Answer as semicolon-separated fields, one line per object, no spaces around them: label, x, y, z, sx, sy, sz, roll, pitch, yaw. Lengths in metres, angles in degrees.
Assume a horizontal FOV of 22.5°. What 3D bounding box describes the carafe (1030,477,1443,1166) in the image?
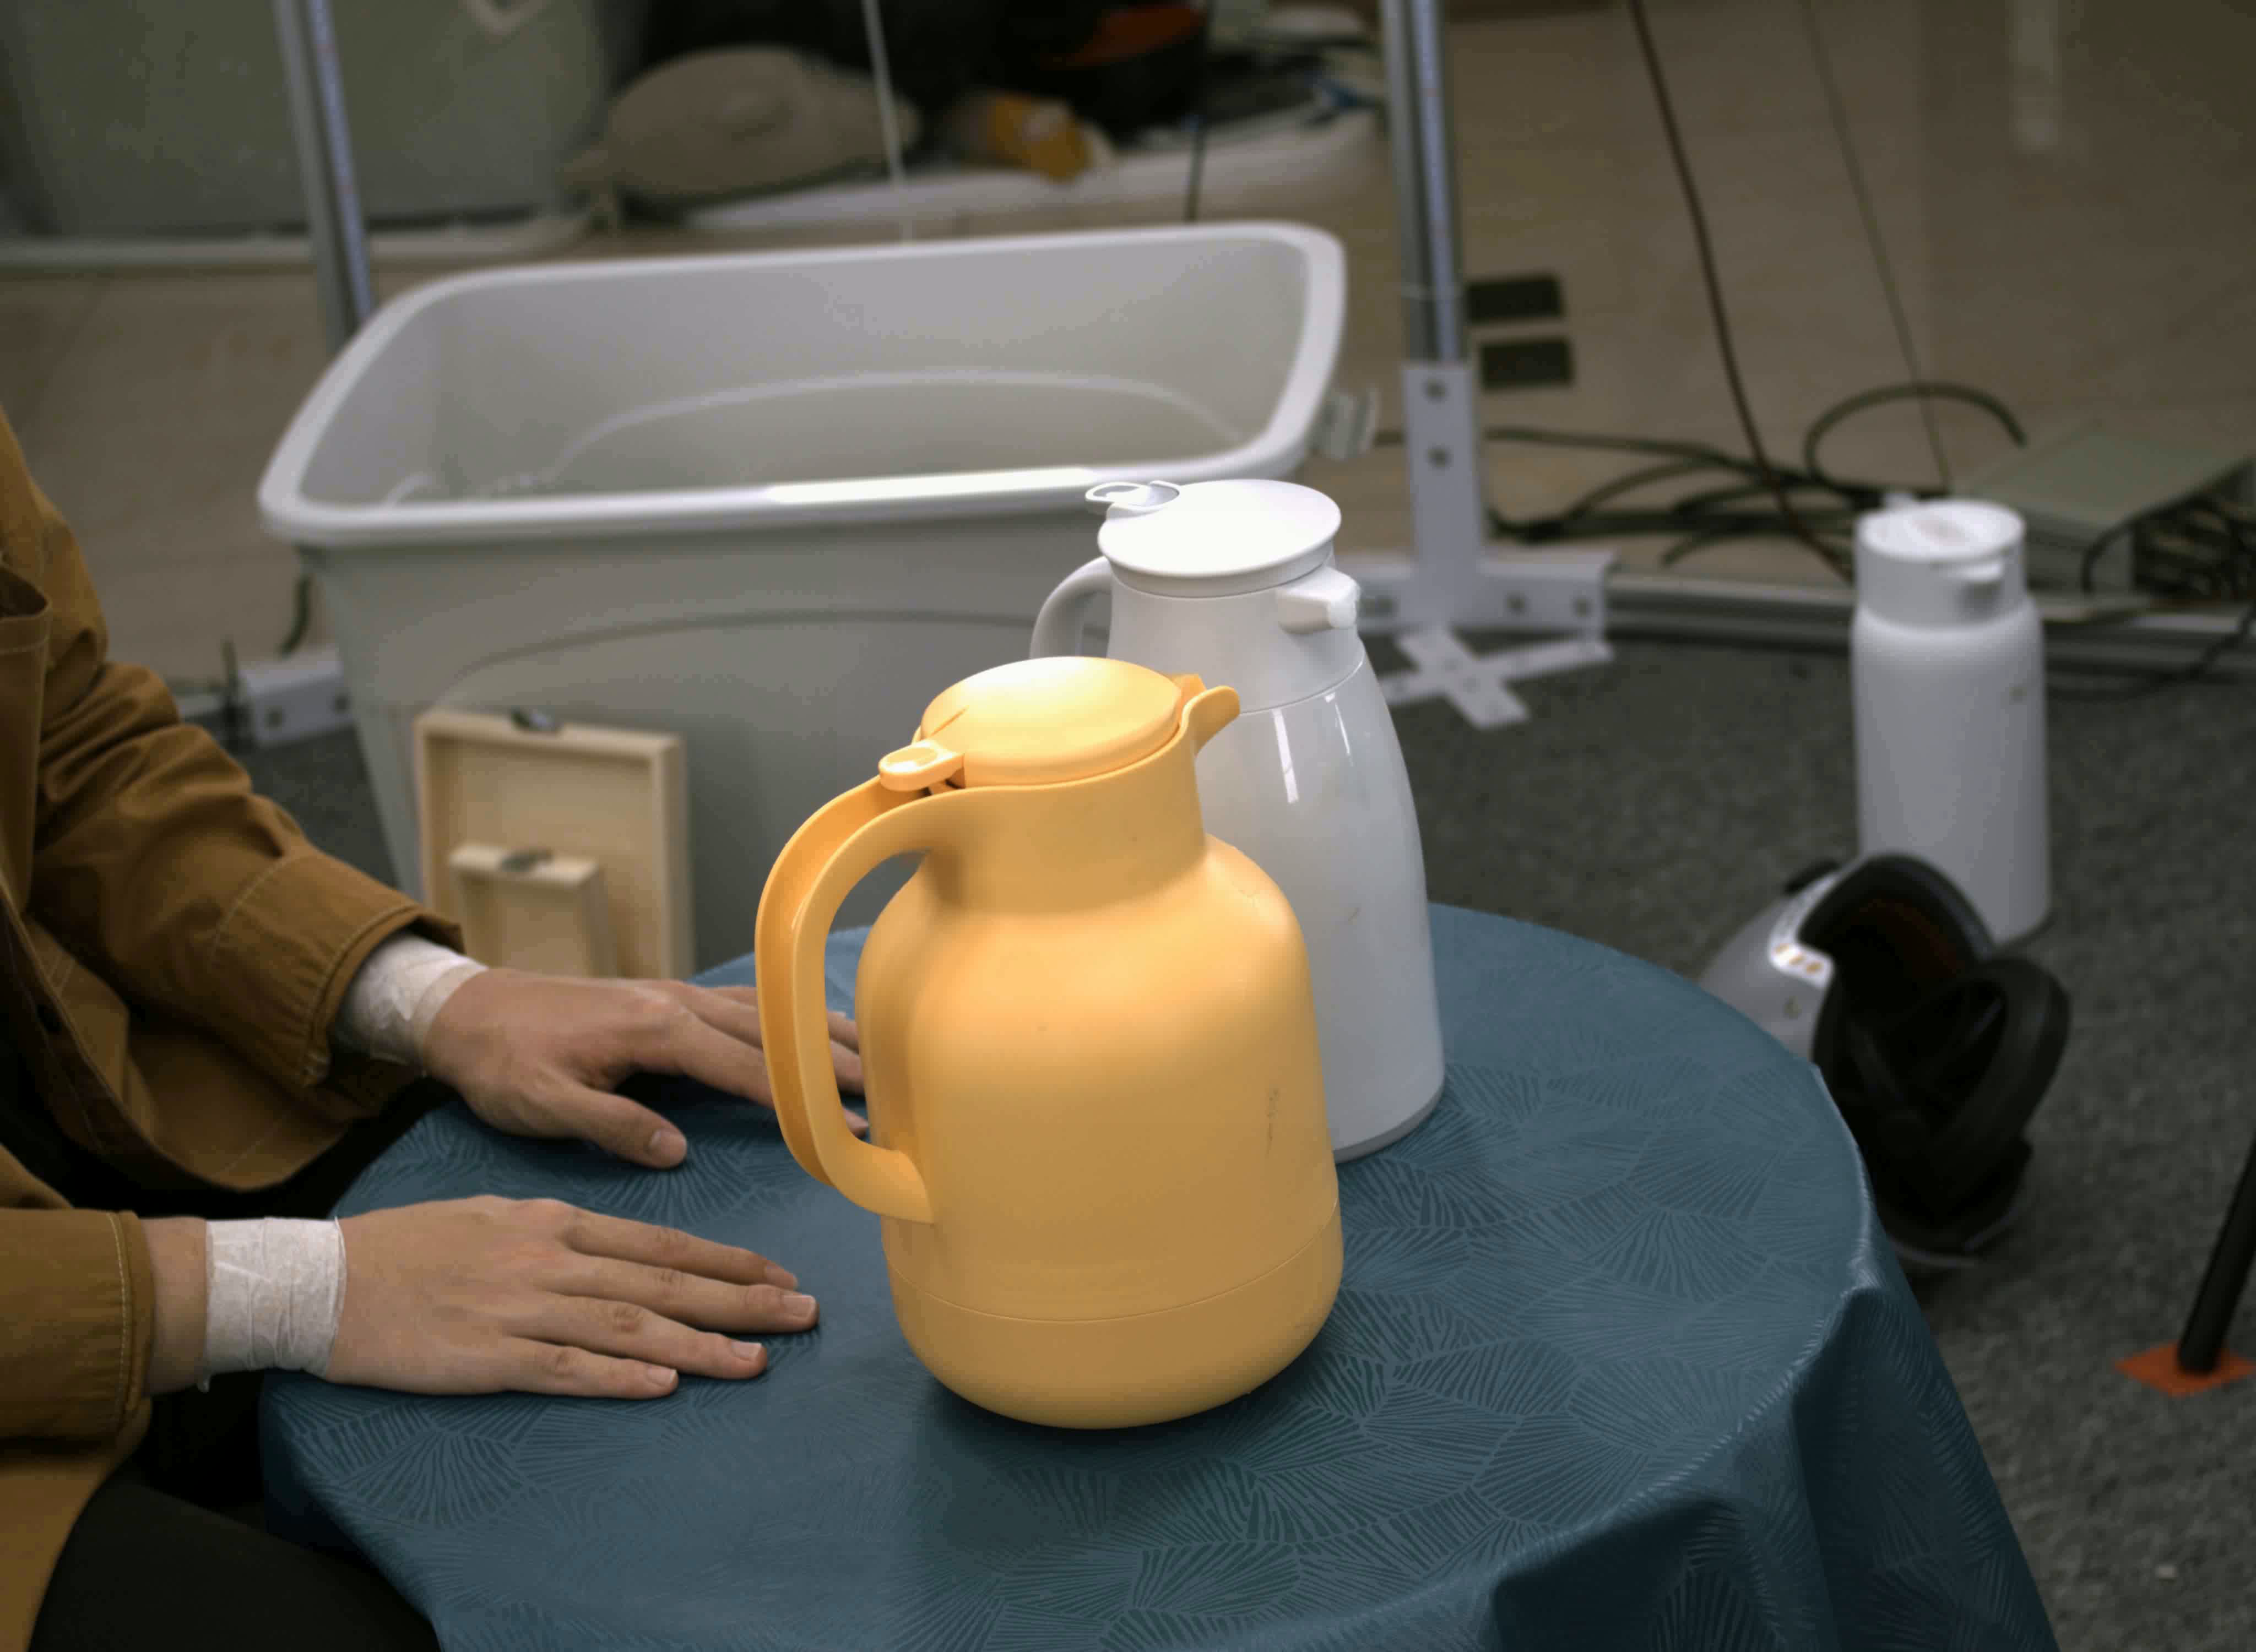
carafe;0.031;-0.010;2.164;0.166;0.252;0.131;17;34;40

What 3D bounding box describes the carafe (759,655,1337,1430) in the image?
carafe;-0.032;0.077;1.980;0.201;0.264;0.162;-19;26;-27
